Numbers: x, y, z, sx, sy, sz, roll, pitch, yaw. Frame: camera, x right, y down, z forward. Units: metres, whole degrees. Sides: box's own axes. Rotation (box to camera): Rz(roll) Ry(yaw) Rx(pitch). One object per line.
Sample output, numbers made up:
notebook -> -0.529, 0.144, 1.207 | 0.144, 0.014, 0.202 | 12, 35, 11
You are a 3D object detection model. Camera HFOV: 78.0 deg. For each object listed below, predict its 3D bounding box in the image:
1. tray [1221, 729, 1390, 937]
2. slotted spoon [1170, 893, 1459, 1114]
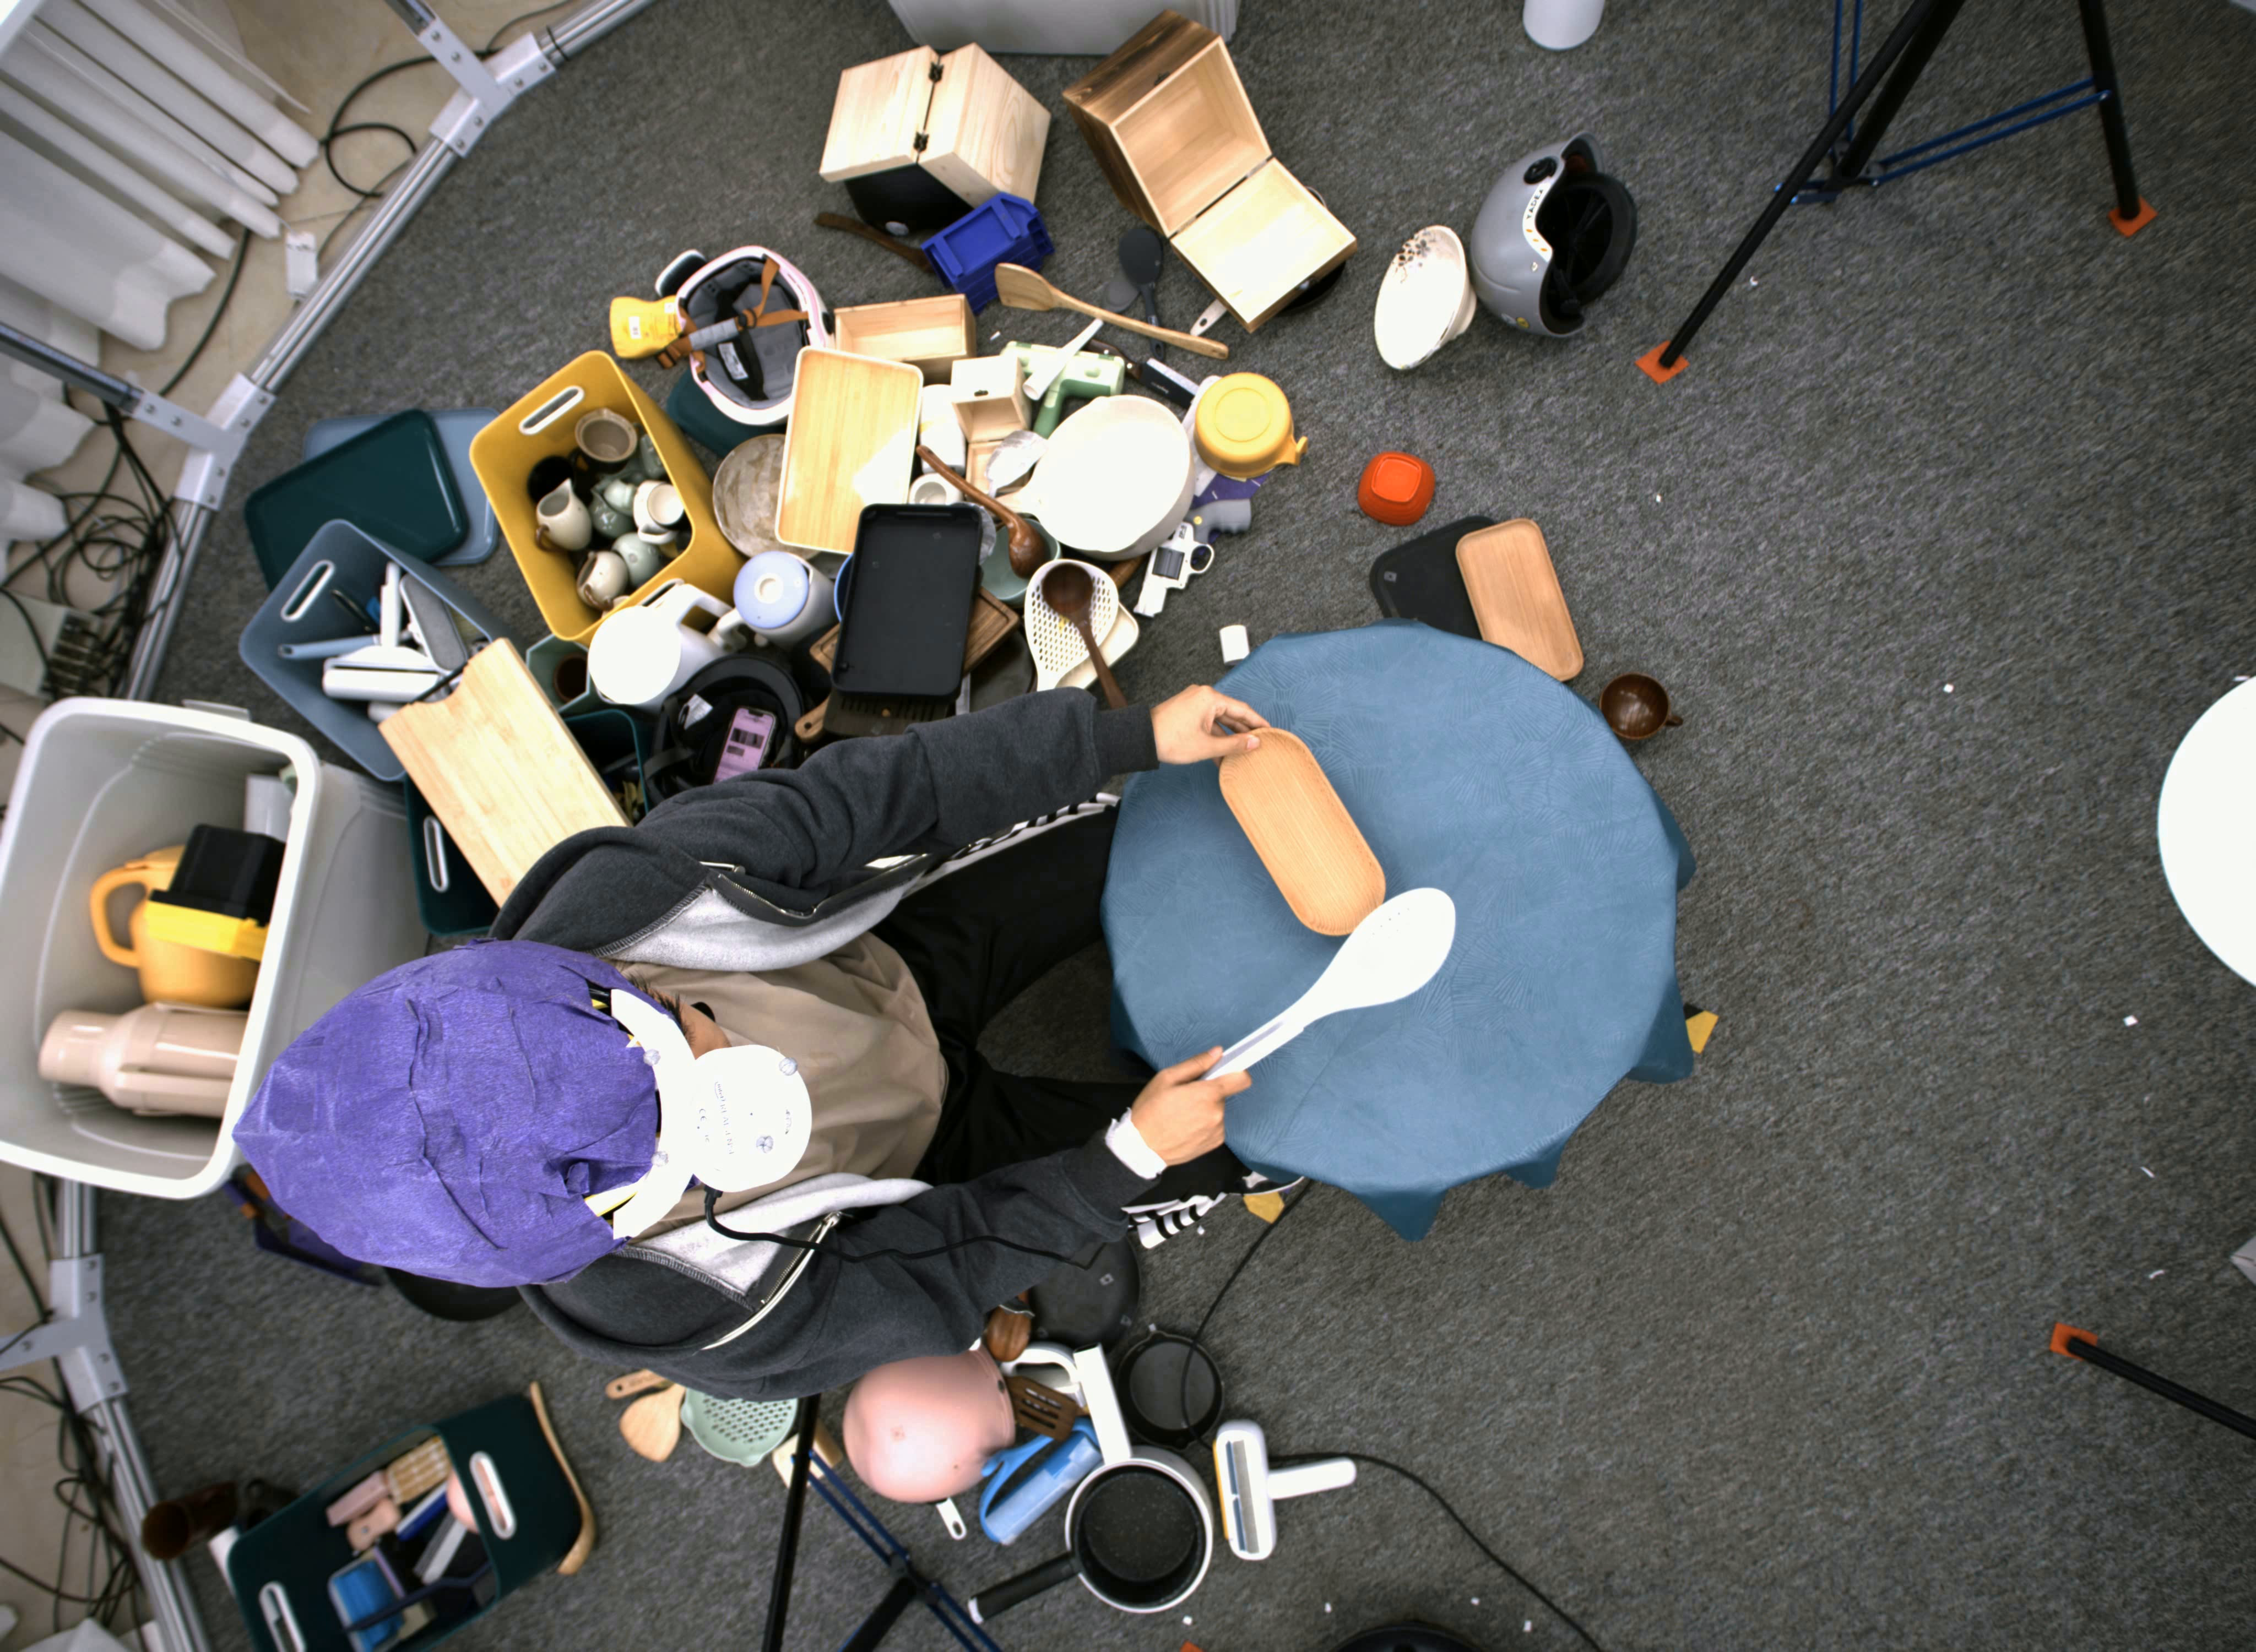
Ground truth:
tray -> 0.181, 0.006, 1.413 | 0.102, 0.020, 0.231 | -33, 90, 10
slotted spoon -> 0.177, 0.181, 1.341 | 0.354, 0.133, 0.046 | -33, 112, 19
